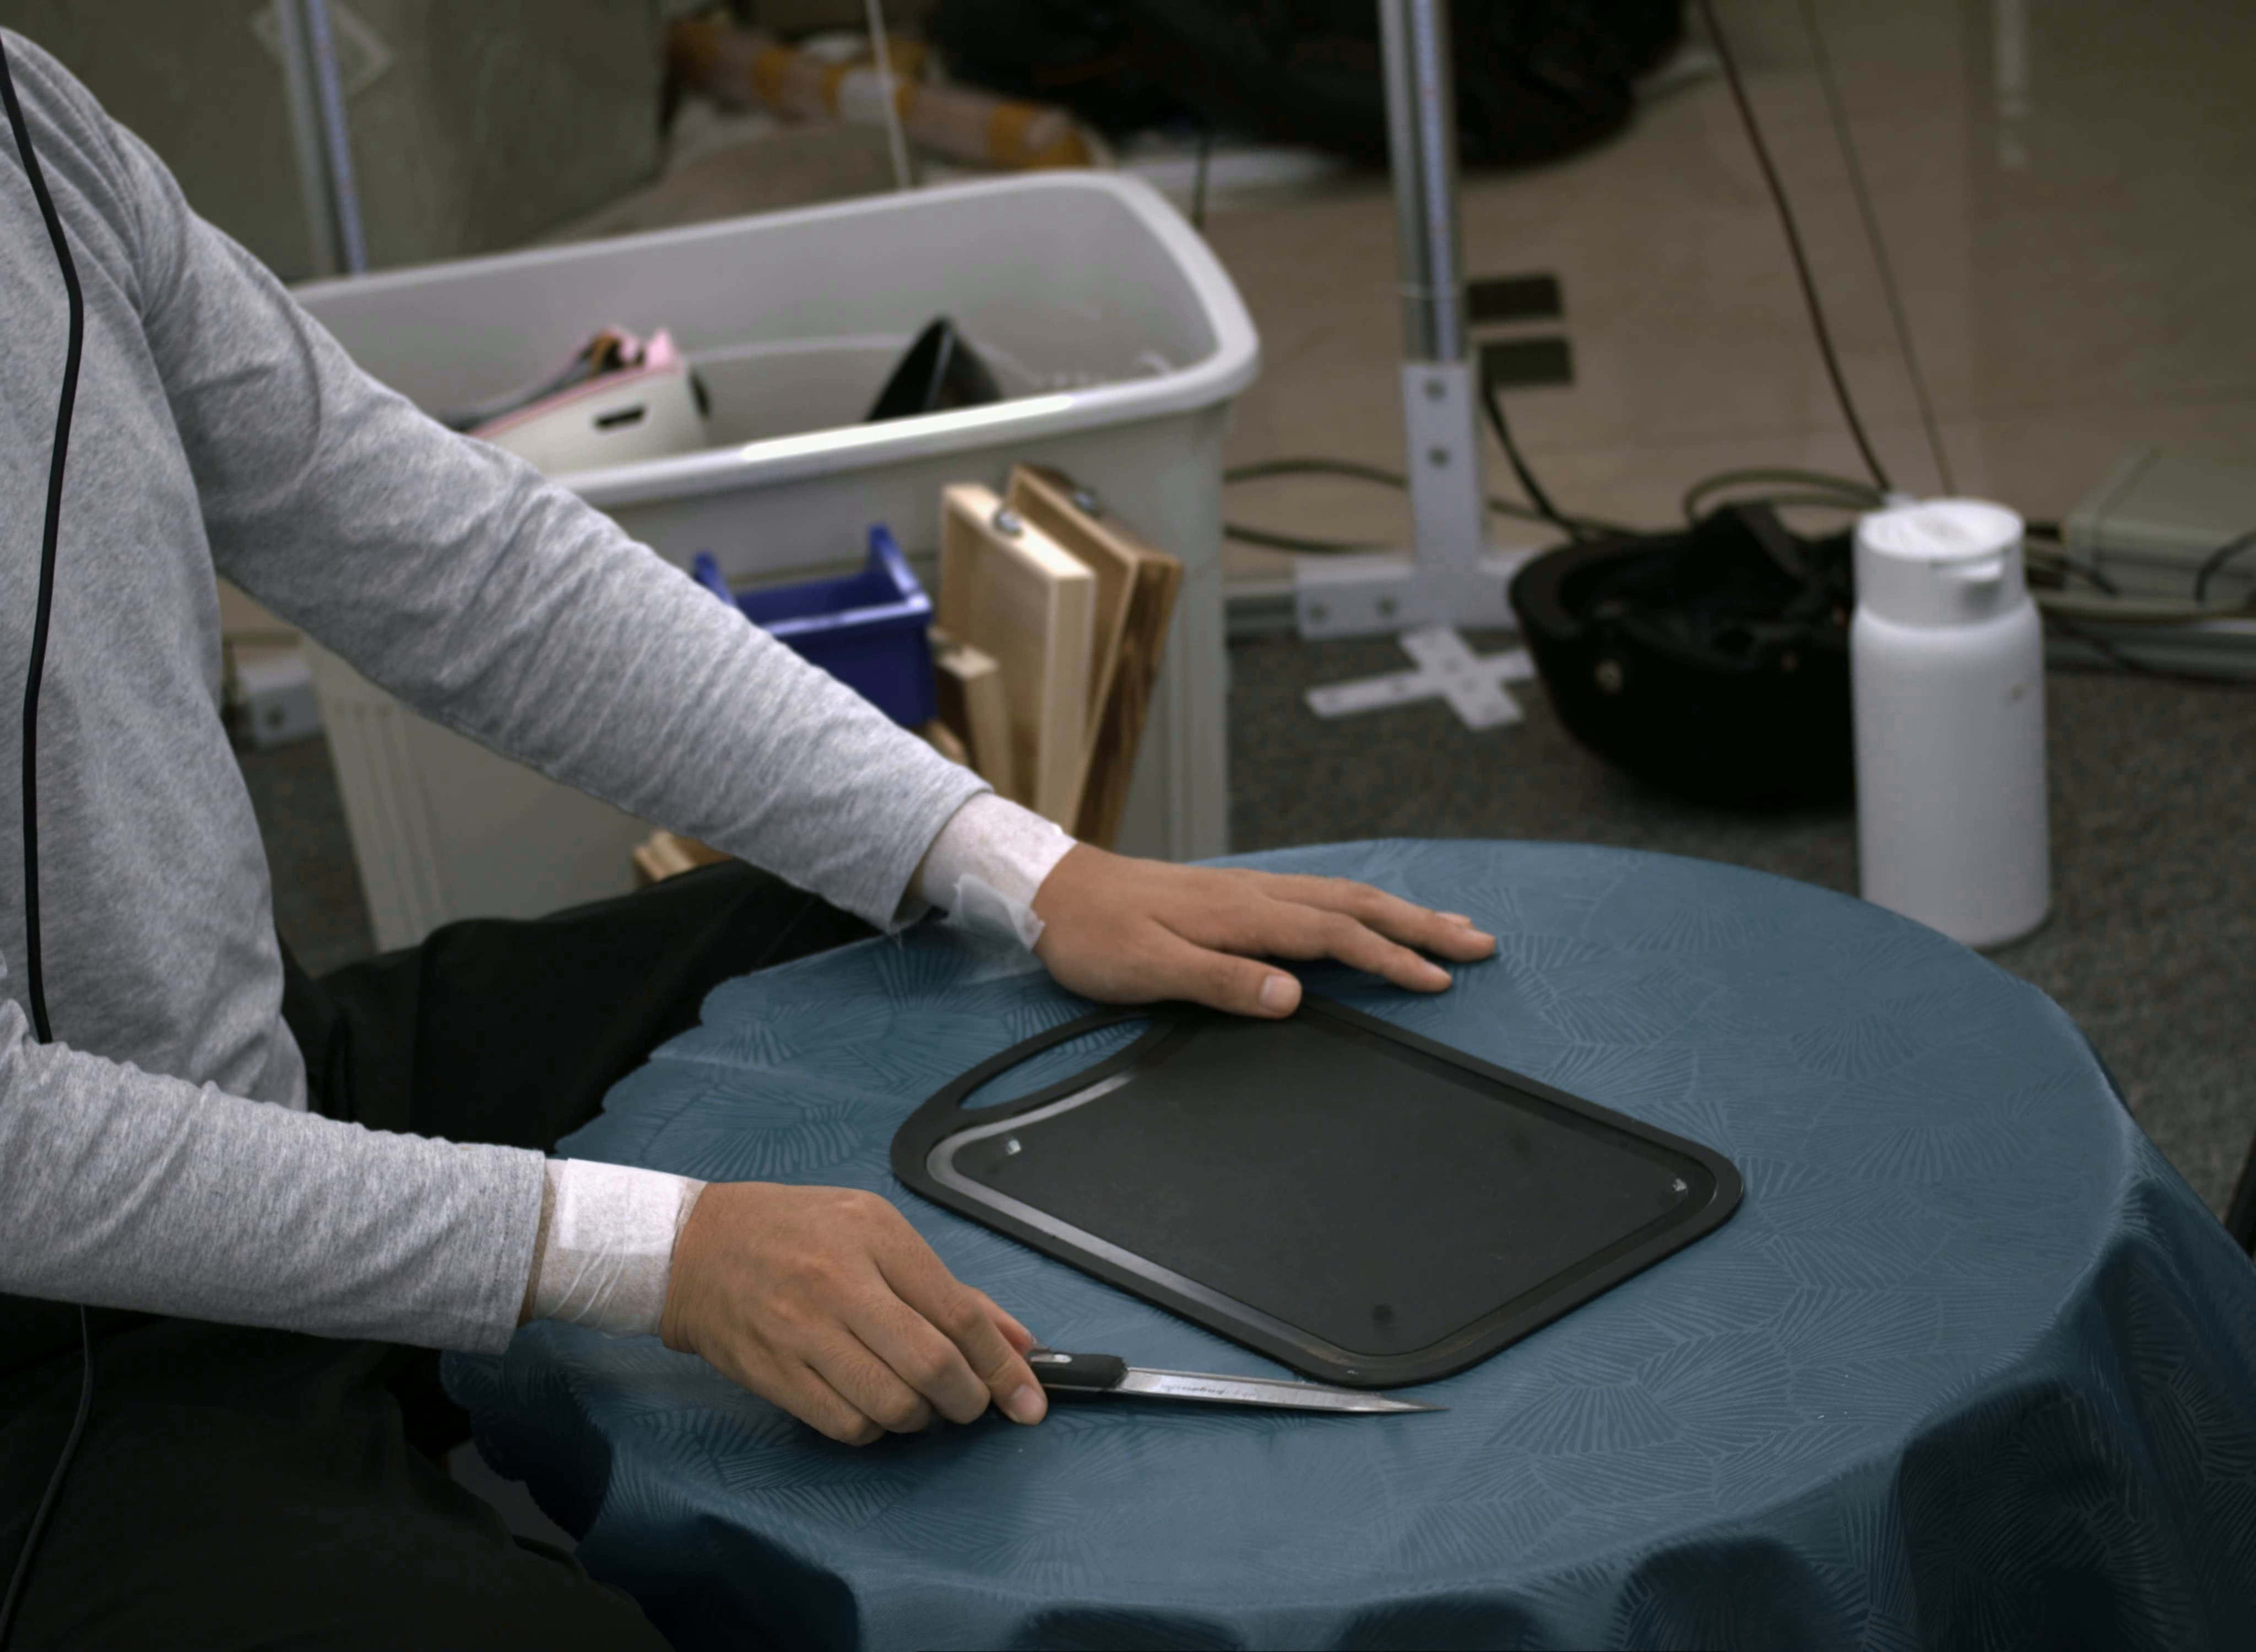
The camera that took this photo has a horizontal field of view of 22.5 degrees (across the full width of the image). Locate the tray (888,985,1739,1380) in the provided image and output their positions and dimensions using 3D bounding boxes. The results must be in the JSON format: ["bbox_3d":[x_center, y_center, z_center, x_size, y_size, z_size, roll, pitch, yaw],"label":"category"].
[{"bbox_3d":[0.060,0.128,2.154,0.209,0.010,0.322,-25,30,-34],"label":"tray"}]

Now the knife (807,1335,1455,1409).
[{"bbox_3d":[-0.002,0.197,2.014,0.237,0.016,0.024,3,22,13],"label":"knife"}]
